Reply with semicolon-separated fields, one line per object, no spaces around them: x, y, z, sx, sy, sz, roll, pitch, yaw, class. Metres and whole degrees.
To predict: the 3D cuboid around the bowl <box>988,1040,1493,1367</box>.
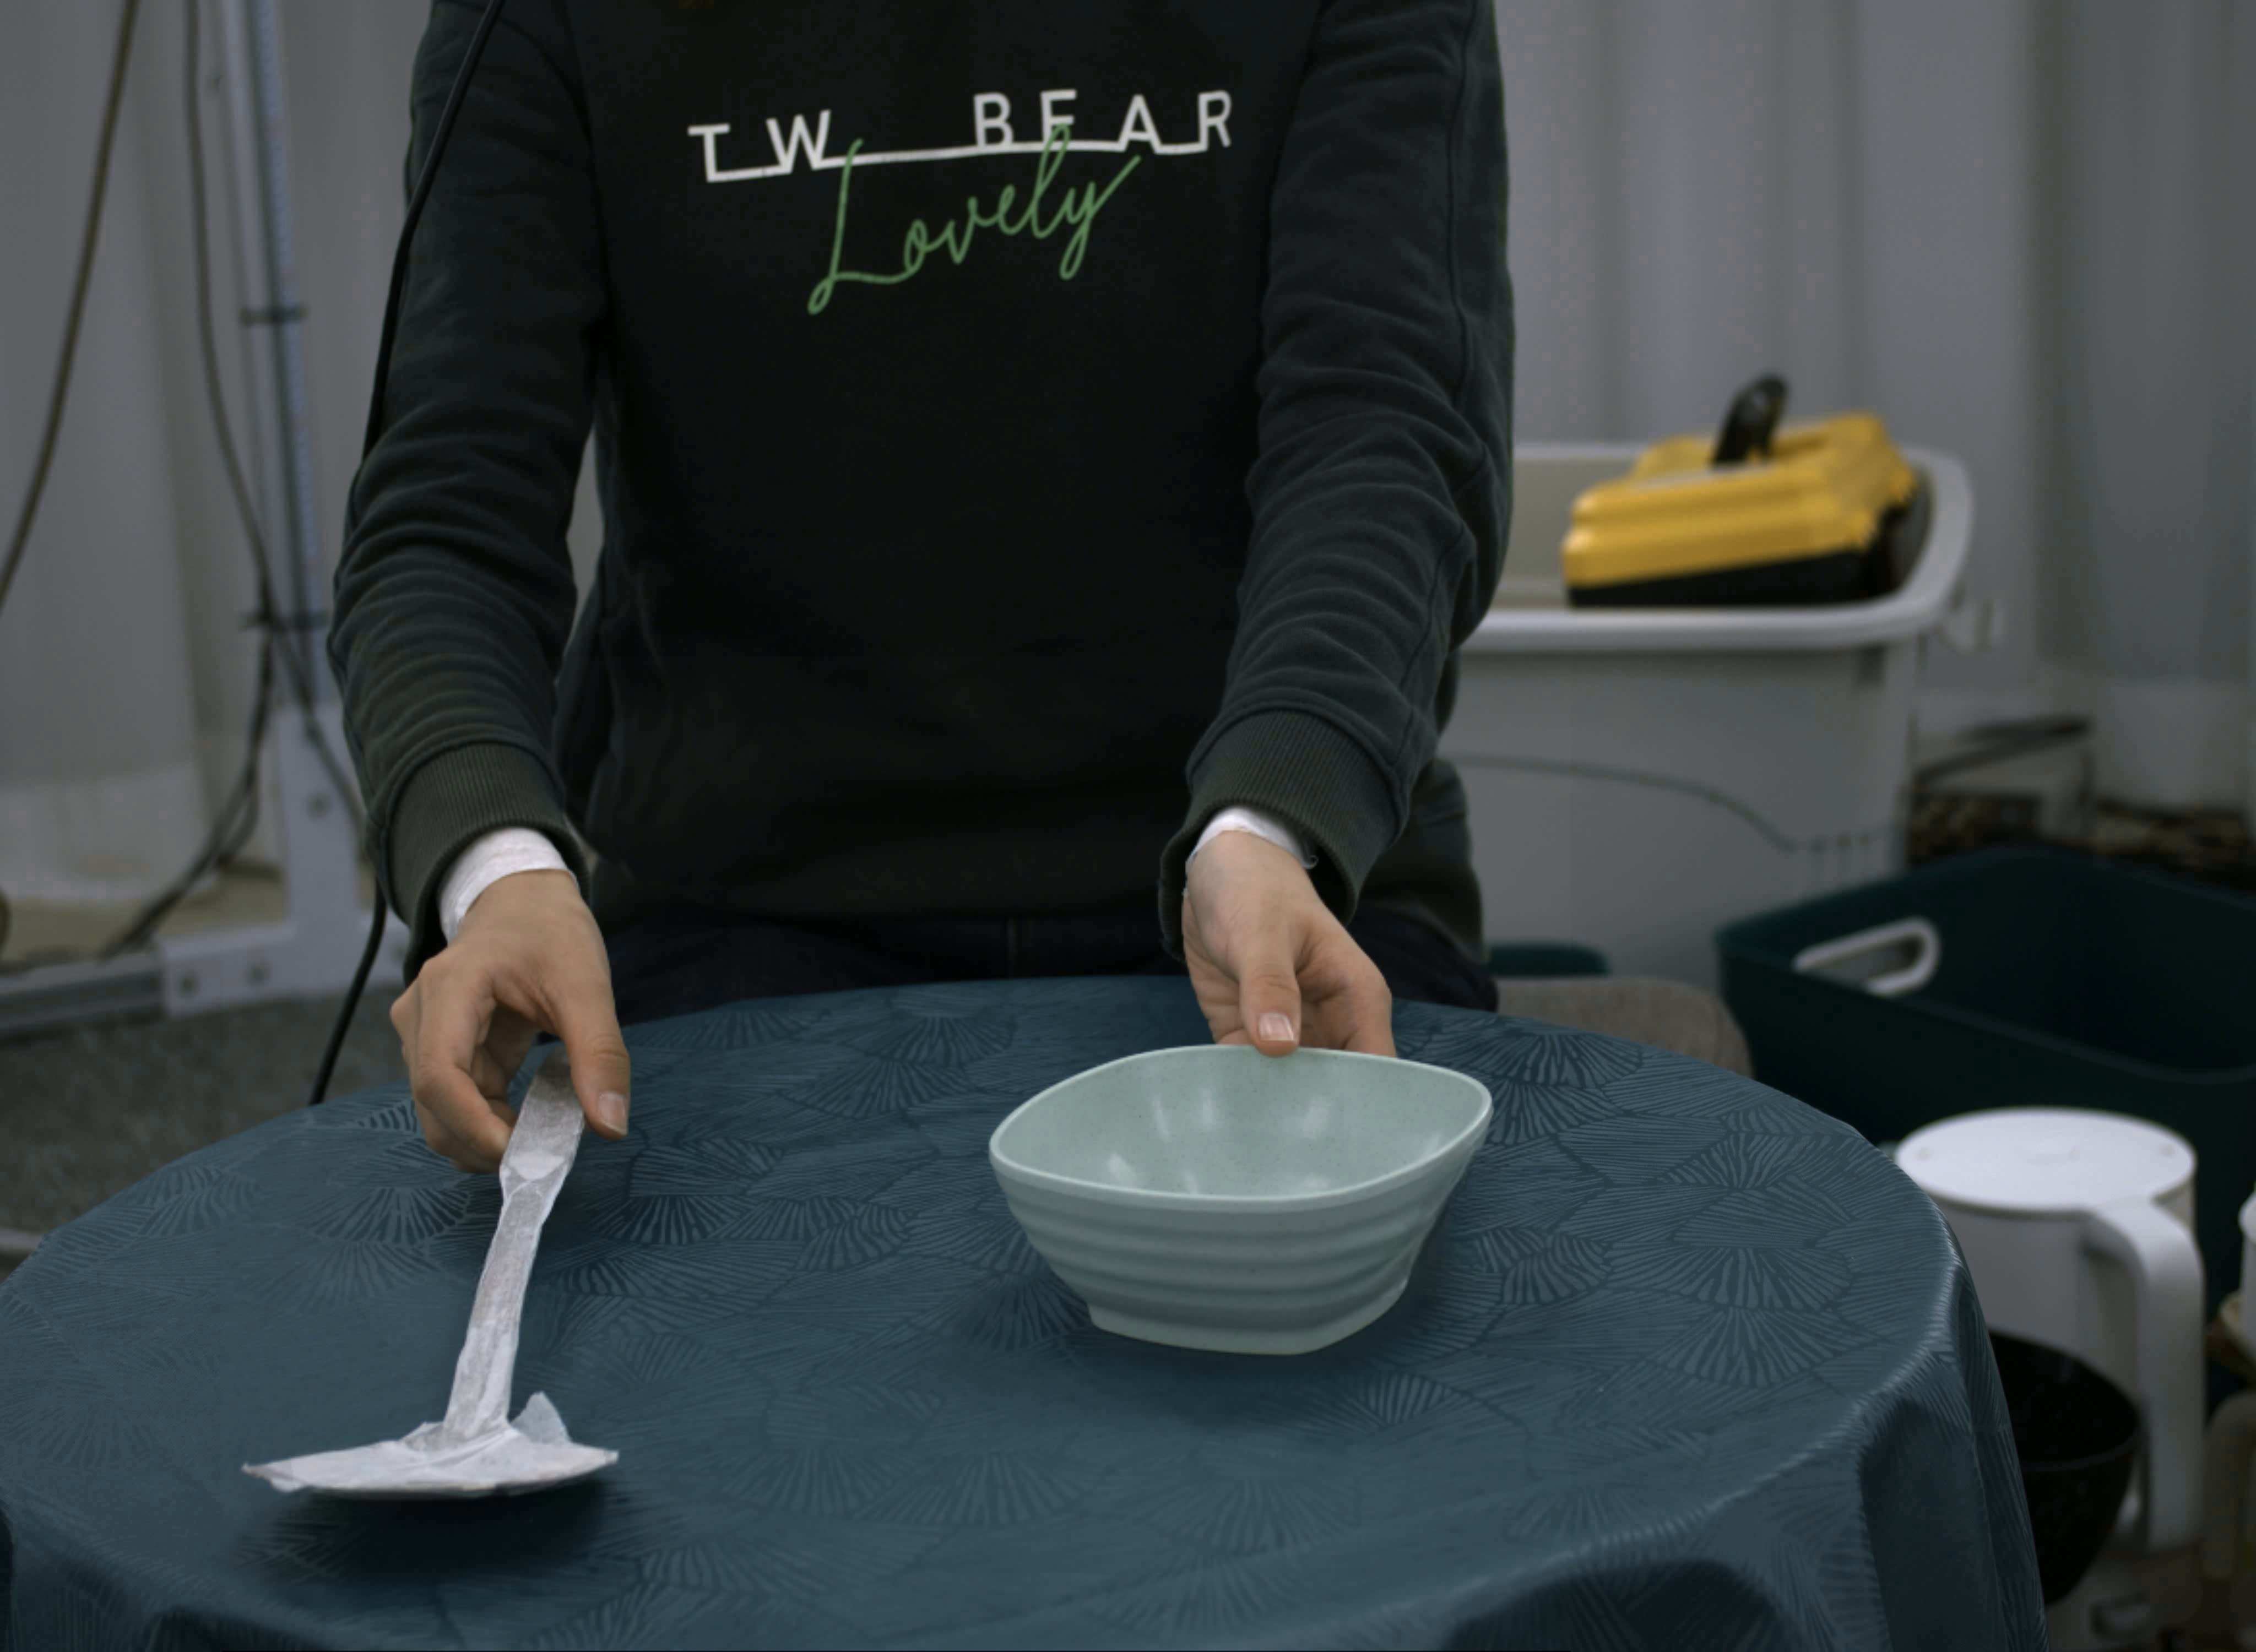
0.034;0.114;1.606;0.151;0.058;0.152;-2;17;0;bowl

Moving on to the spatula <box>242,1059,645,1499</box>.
-0.177;0.124;1.597;0.098;0.044;0.368;-3;21;4;spatula
